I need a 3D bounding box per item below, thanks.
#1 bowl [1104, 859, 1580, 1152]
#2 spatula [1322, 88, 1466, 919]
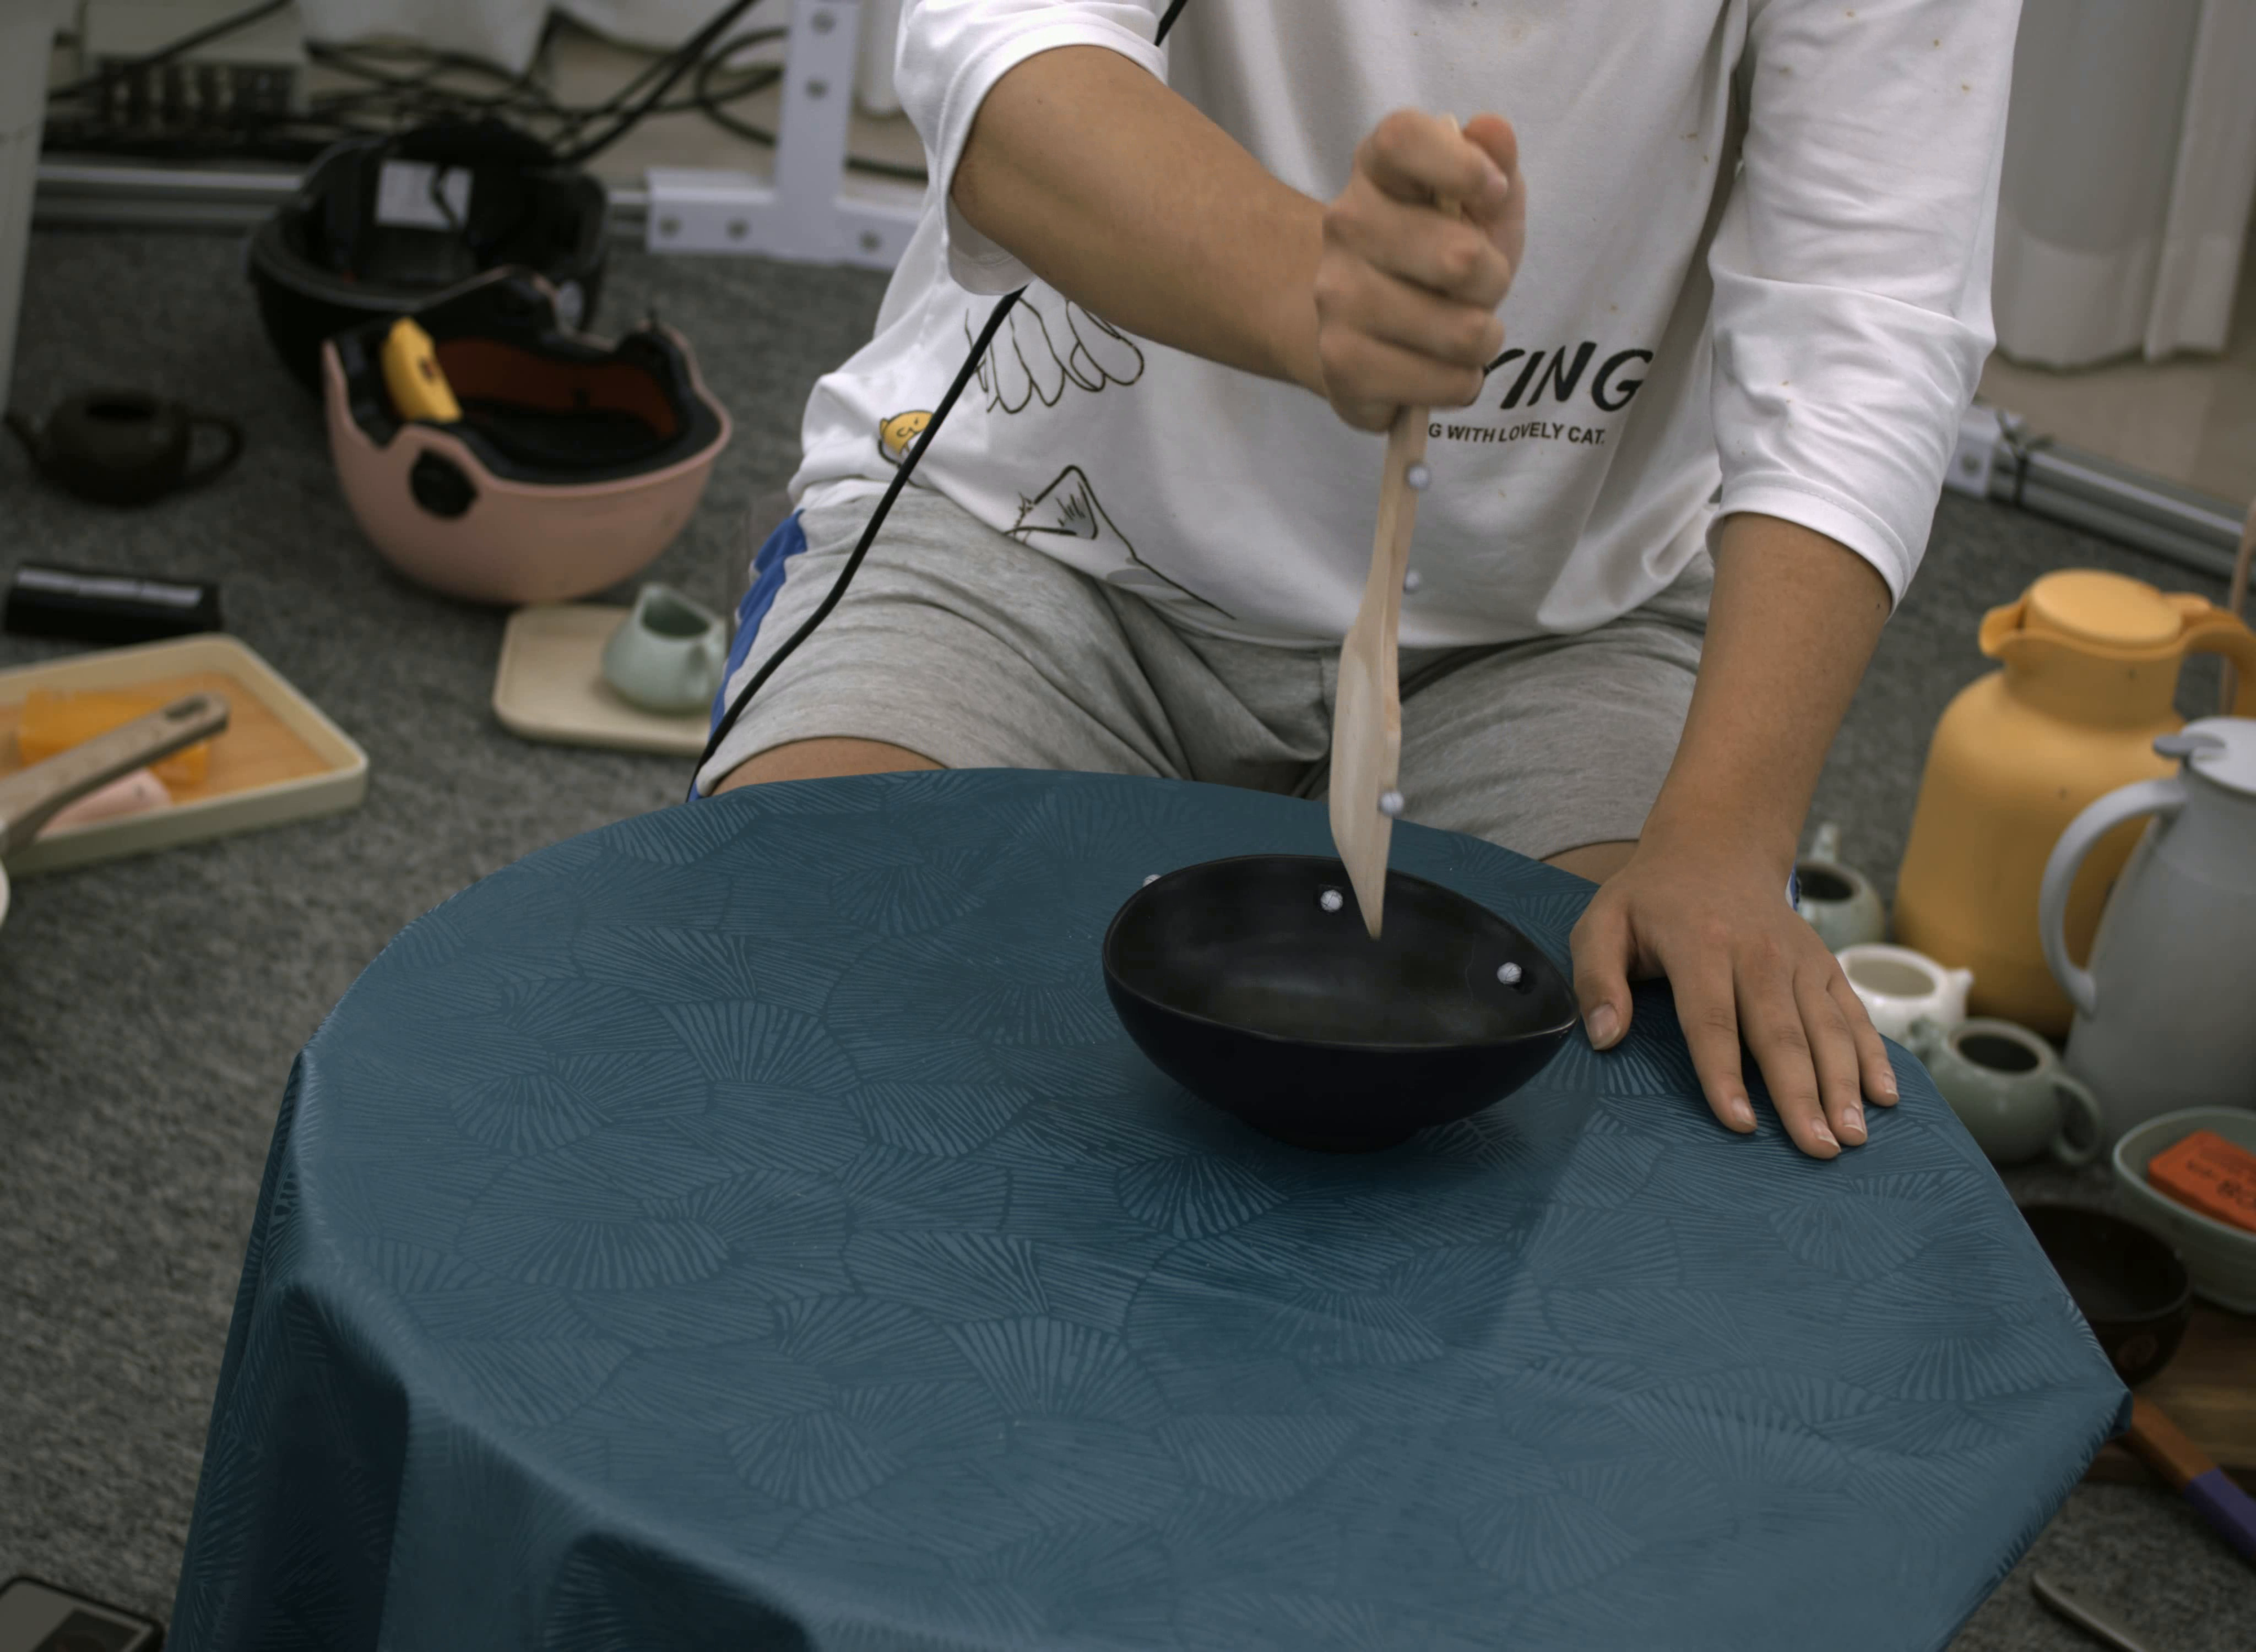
[{"bbox_3d":[0.071,0.070,1.860,0.169,0.066,0.138,3,26,-12],"label":"bowl"},{"bbox_3d":[0.089,-0.107,1.769,0.010,0.292,0.073,0,31,-11],"label":"spatula"}]
